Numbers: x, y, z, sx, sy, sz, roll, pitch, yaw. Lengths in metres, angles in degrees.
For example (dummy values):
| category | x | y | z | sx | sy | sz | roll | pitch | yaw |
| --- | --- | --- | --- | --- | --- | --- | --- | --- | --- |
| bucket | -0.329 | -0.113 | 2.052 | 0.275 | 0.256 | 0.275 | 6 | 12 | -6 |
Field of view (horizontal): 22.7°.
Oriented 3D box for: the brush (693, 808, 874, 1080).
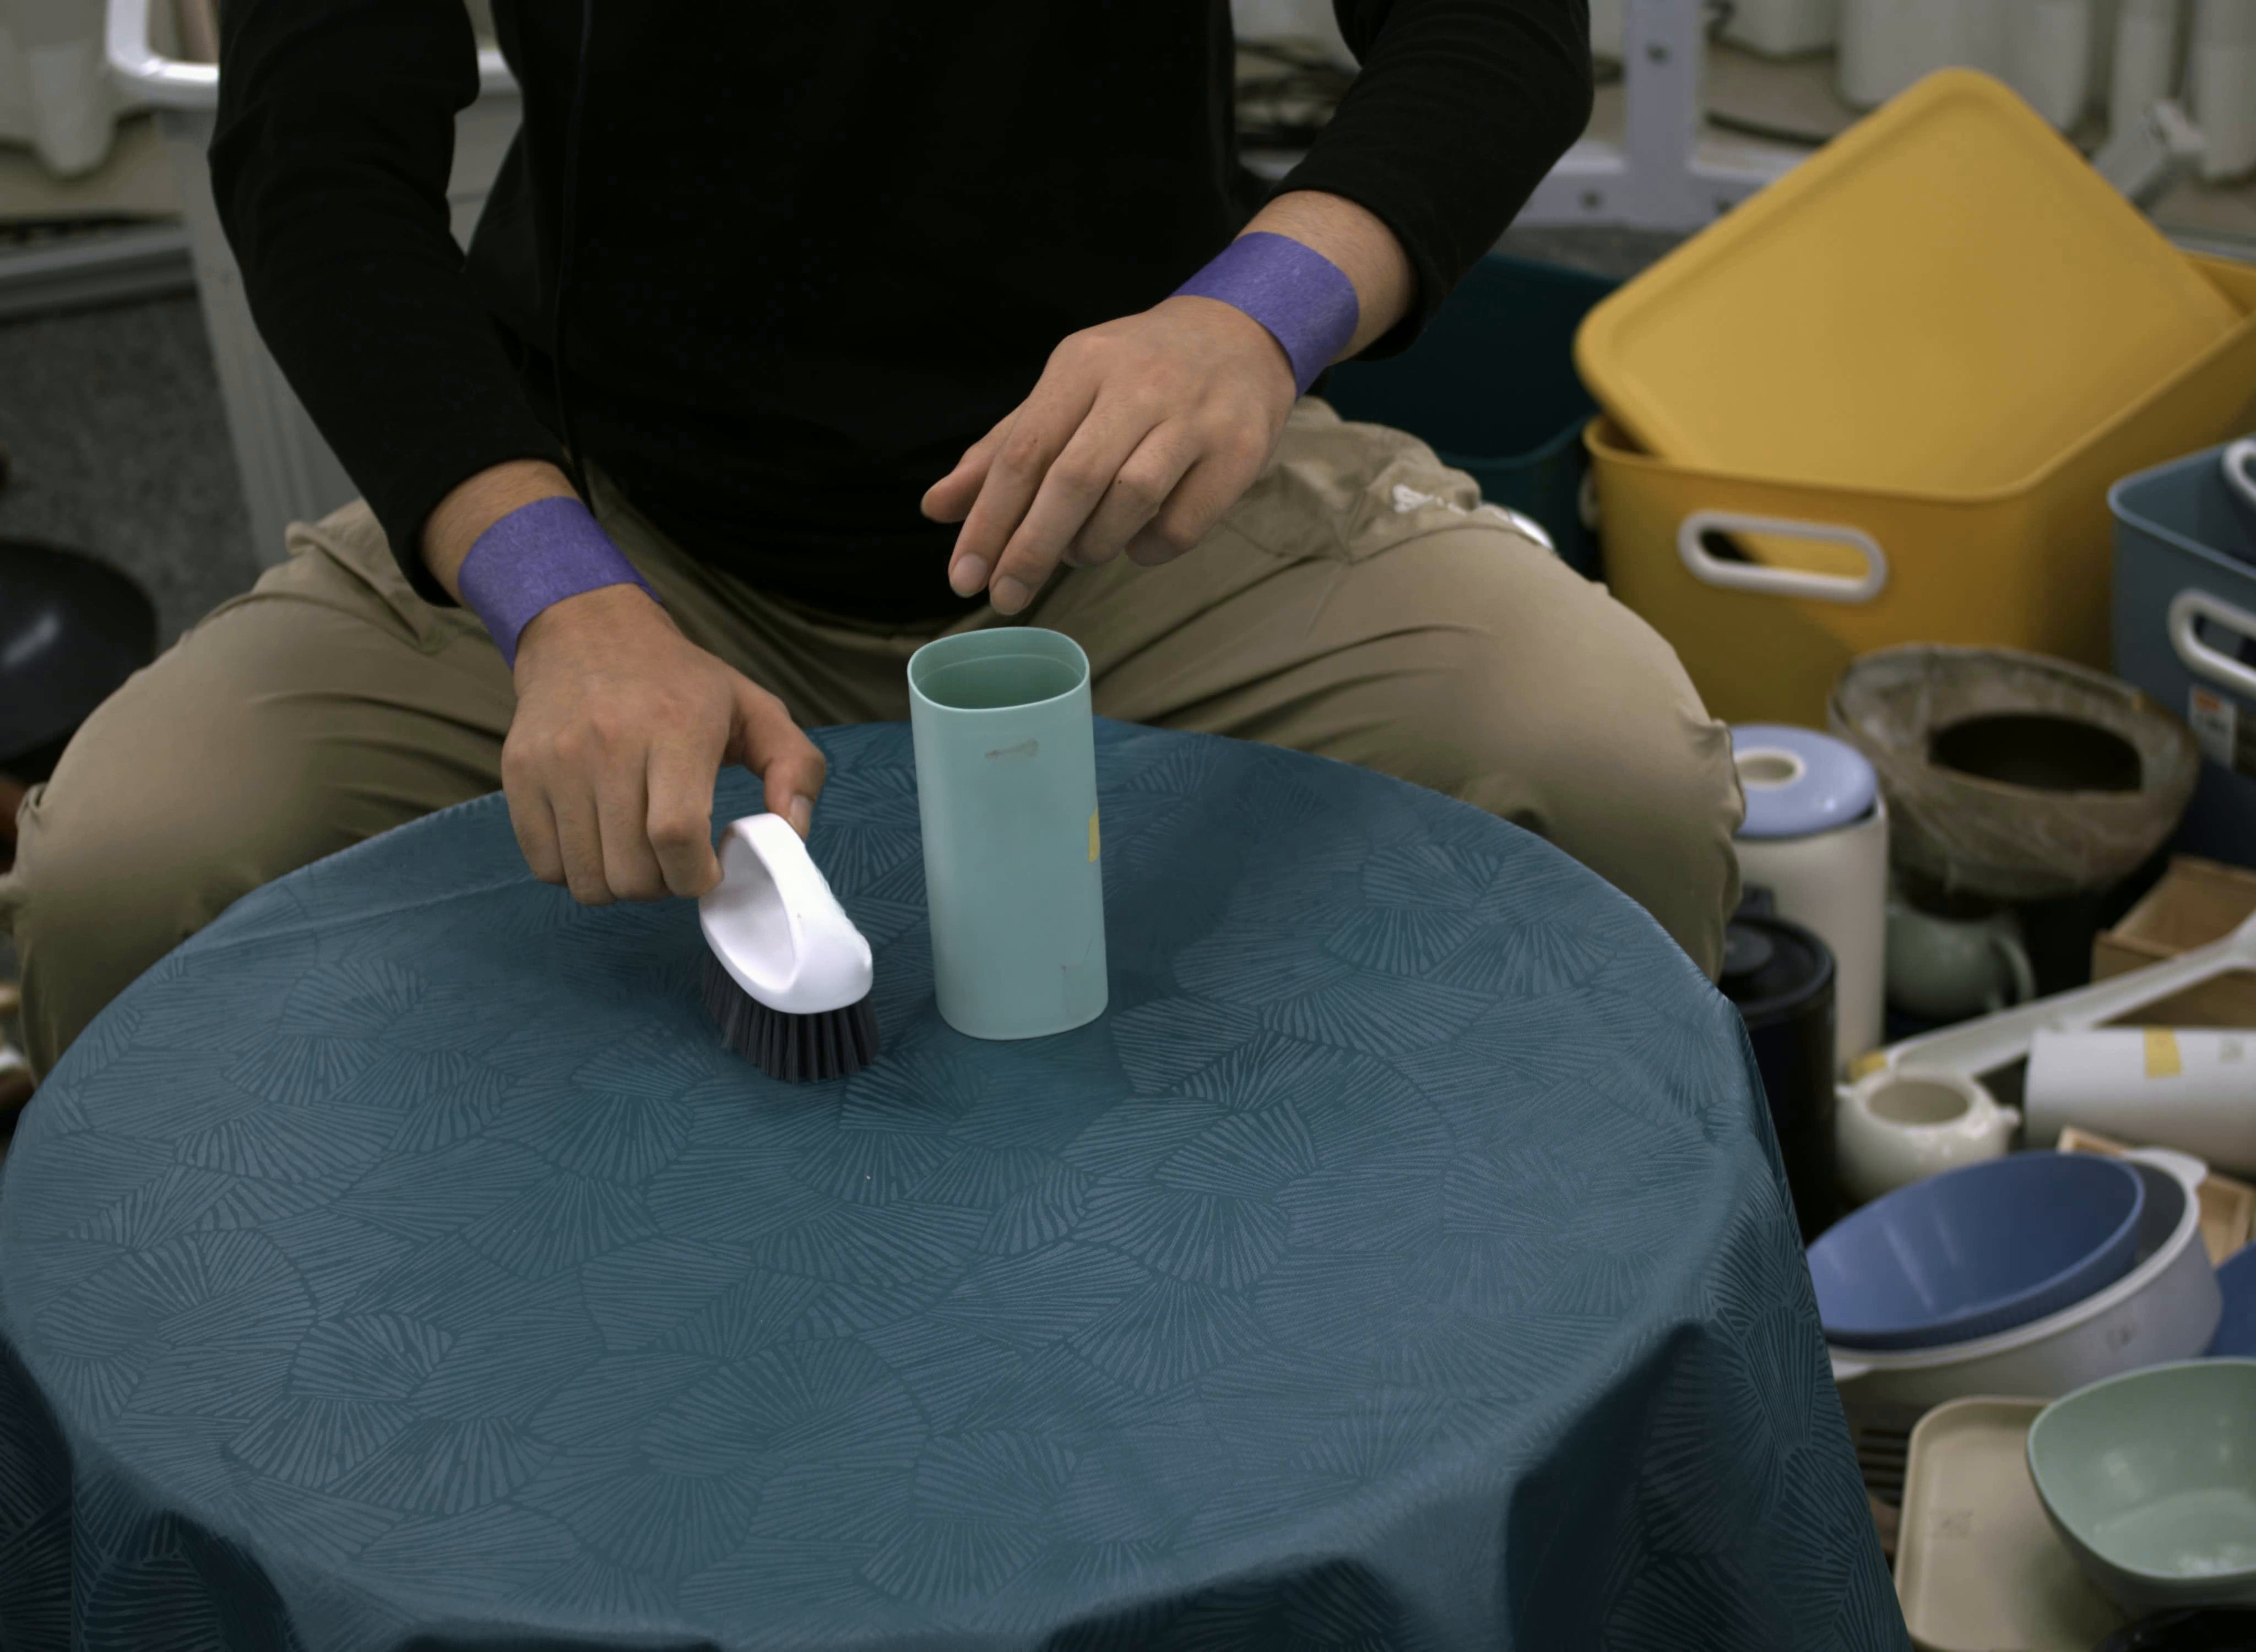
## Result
| category | x | y | z | sx | sy | sz | roll | pitch | yaw |
| --- | --- | --- | --- | --- | --- | --- | --- | --- | --- |
| brush | -0.122 | 0.035 | 1.960 | 0.050 | 0.071 | 0.100 | -11 | 30 | -18 |

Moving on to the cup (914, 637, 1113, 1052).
| category | x | y | z | sx | sy | sz | roll | pitch | yaw |
| --- | --- | --- | --- | --- | --- | --- | --- | --- | --- |
| cup | -0.041 | 0.007 | 1.956 | 0.066 | 0.131 | 0.068 | -3 | 27 | 2 |
